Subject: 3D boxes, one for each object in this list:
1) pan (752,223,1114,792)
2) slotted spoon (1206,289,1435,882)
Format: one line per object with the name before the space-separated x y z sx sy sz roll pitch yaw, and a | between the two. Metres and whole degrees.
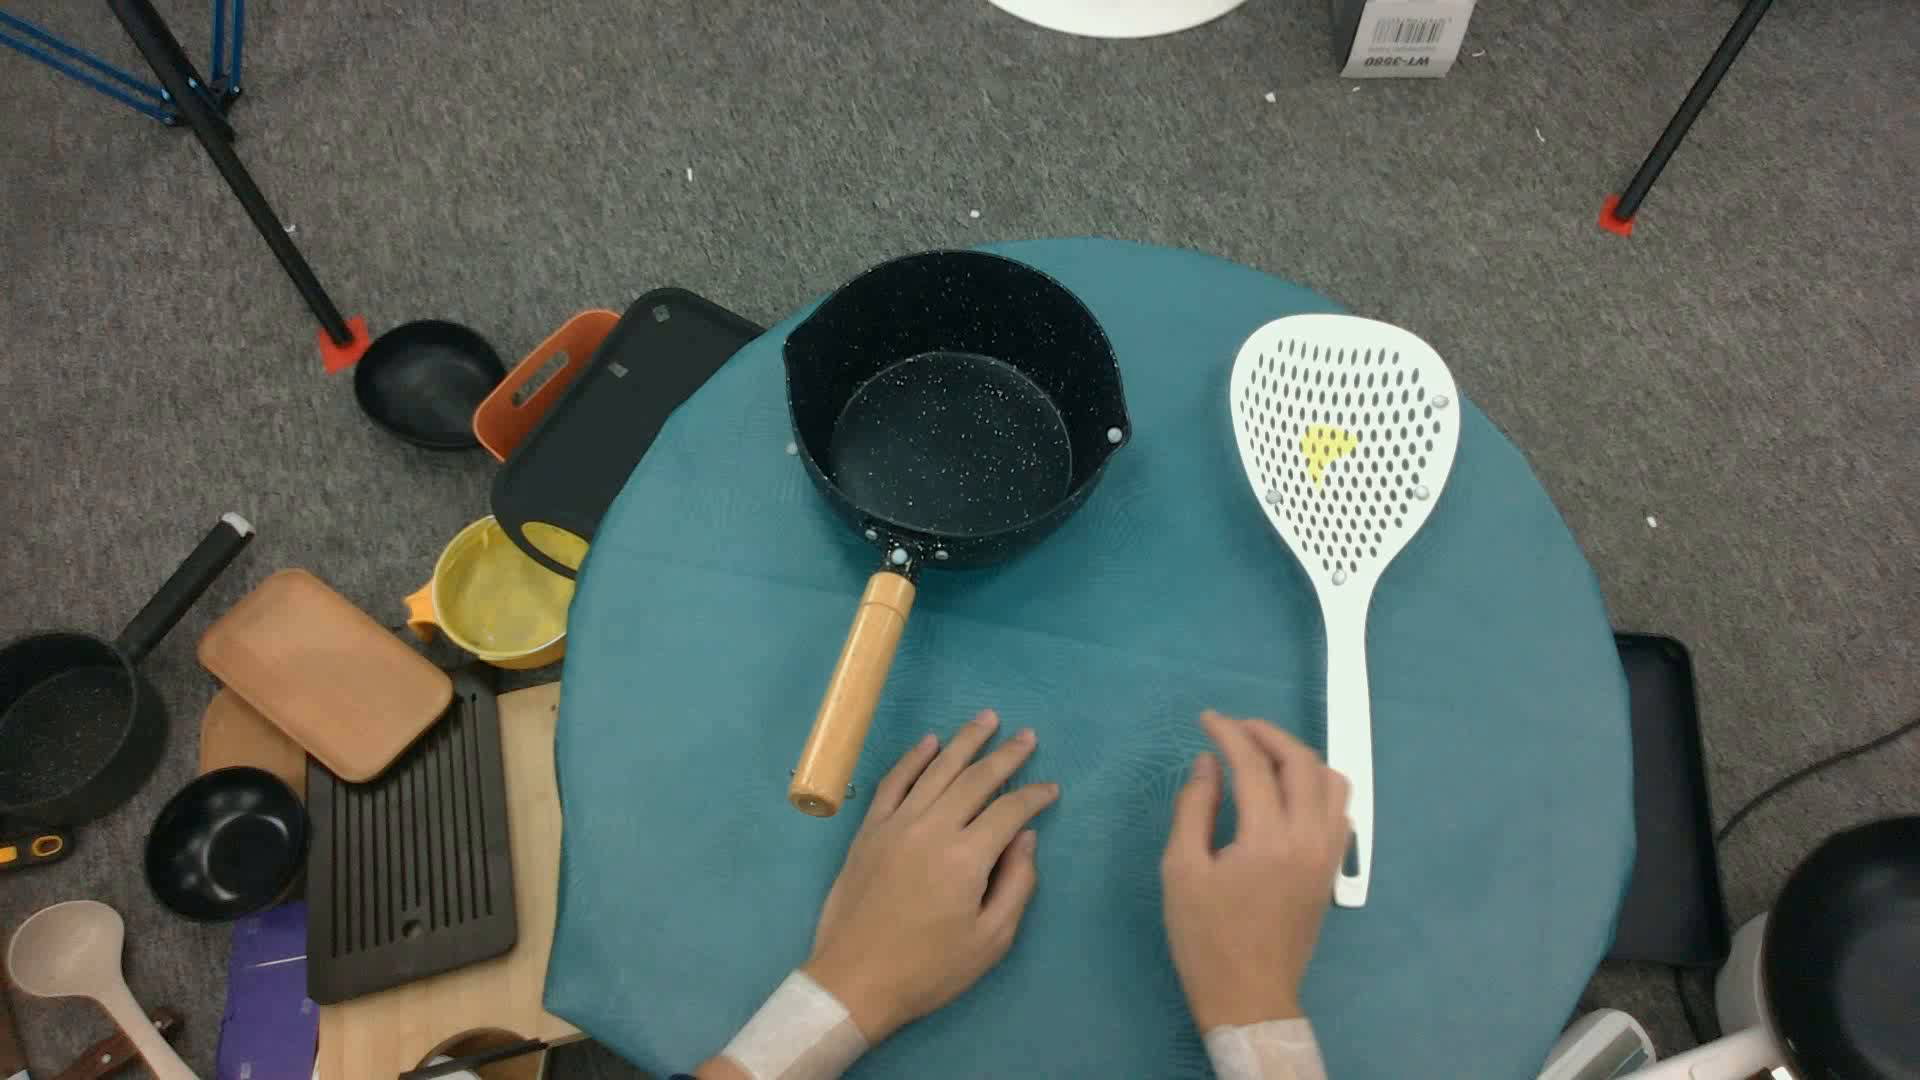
pan | -0.034 -0.015 0.745 0.207 0.108 0.344 14 64 2
slotted spoon | 0.206 0.013 0.781 0.137 0.050 0.349 4 64 -3
